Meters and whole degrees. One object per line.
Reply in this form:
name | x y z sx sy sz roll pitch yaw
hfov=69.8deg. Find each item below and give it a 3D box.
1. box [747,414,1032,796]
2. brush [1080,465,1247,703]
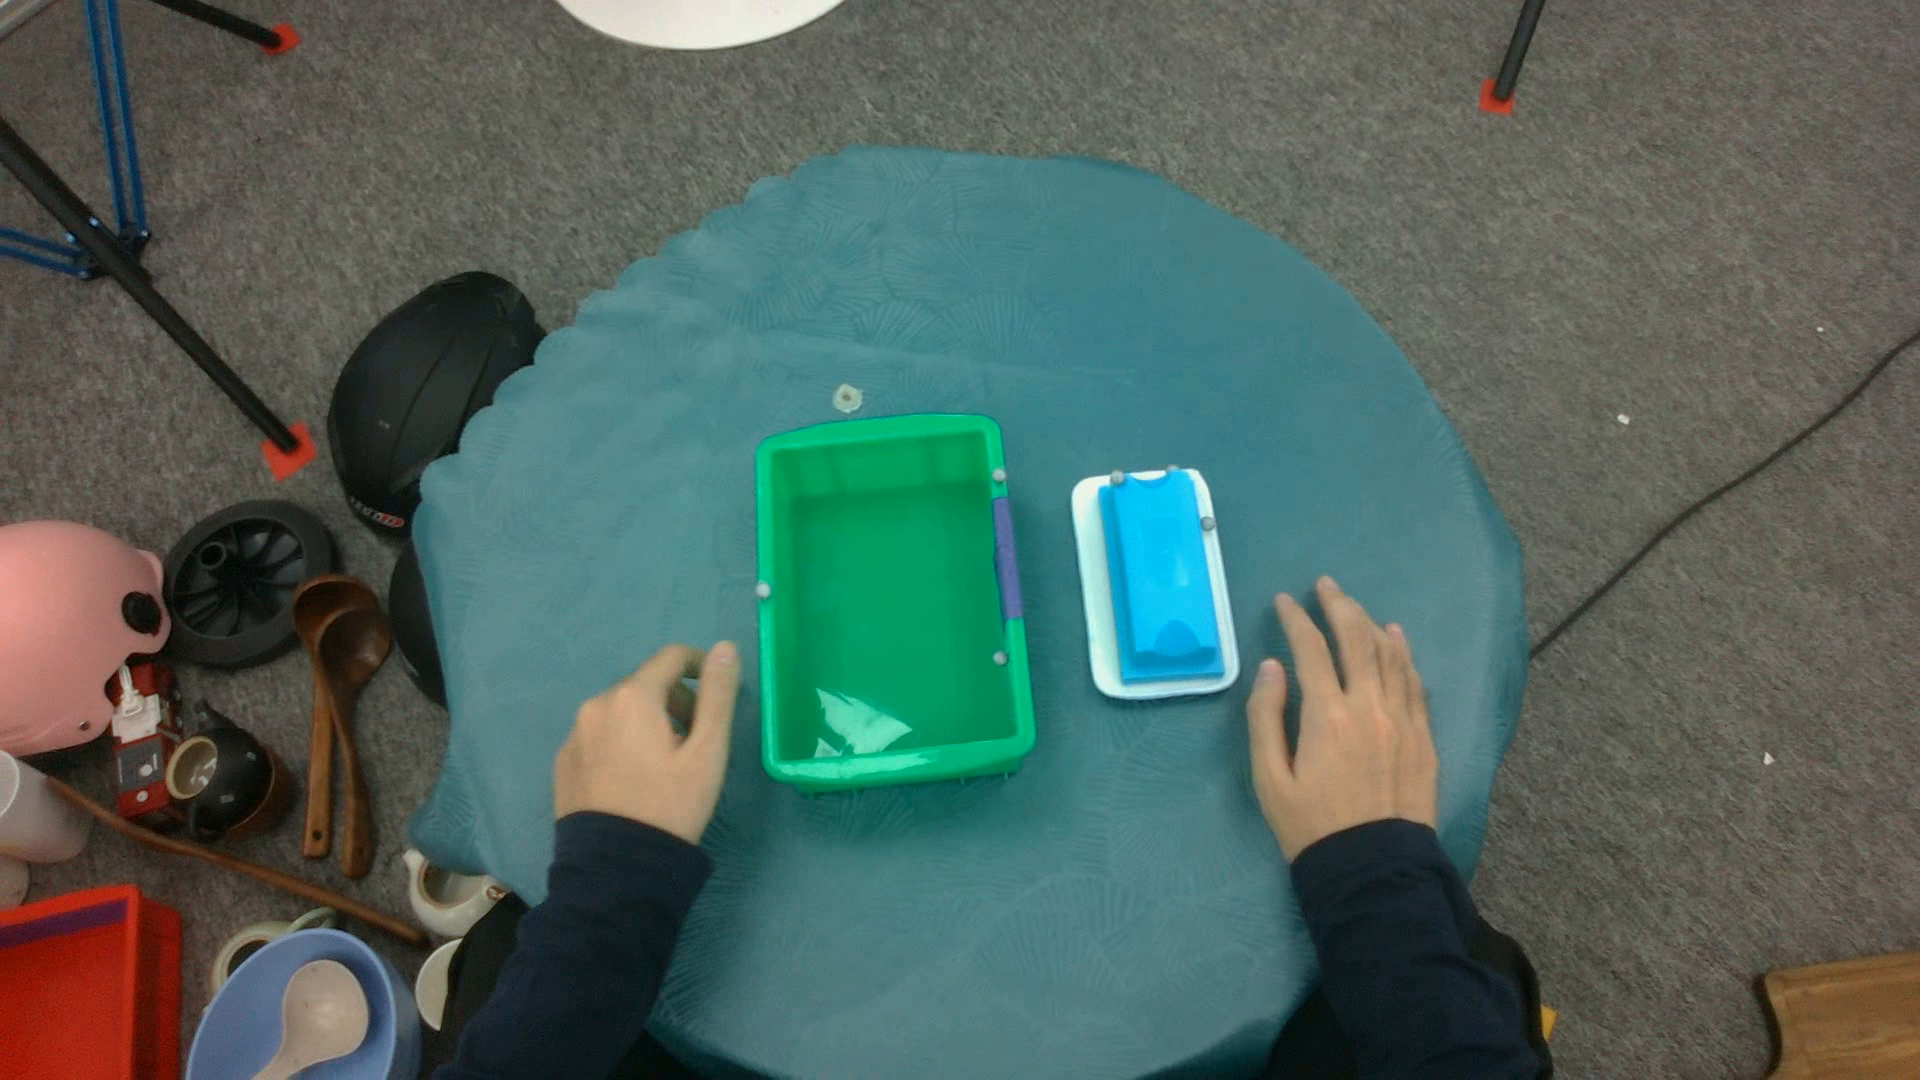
box | -0.040 0.037 0.759 0.139 0.065 0.211 -7 62 -2
brush | 0.109 0.017 0.757 0.084 0.055 0.144 -5 57 3
